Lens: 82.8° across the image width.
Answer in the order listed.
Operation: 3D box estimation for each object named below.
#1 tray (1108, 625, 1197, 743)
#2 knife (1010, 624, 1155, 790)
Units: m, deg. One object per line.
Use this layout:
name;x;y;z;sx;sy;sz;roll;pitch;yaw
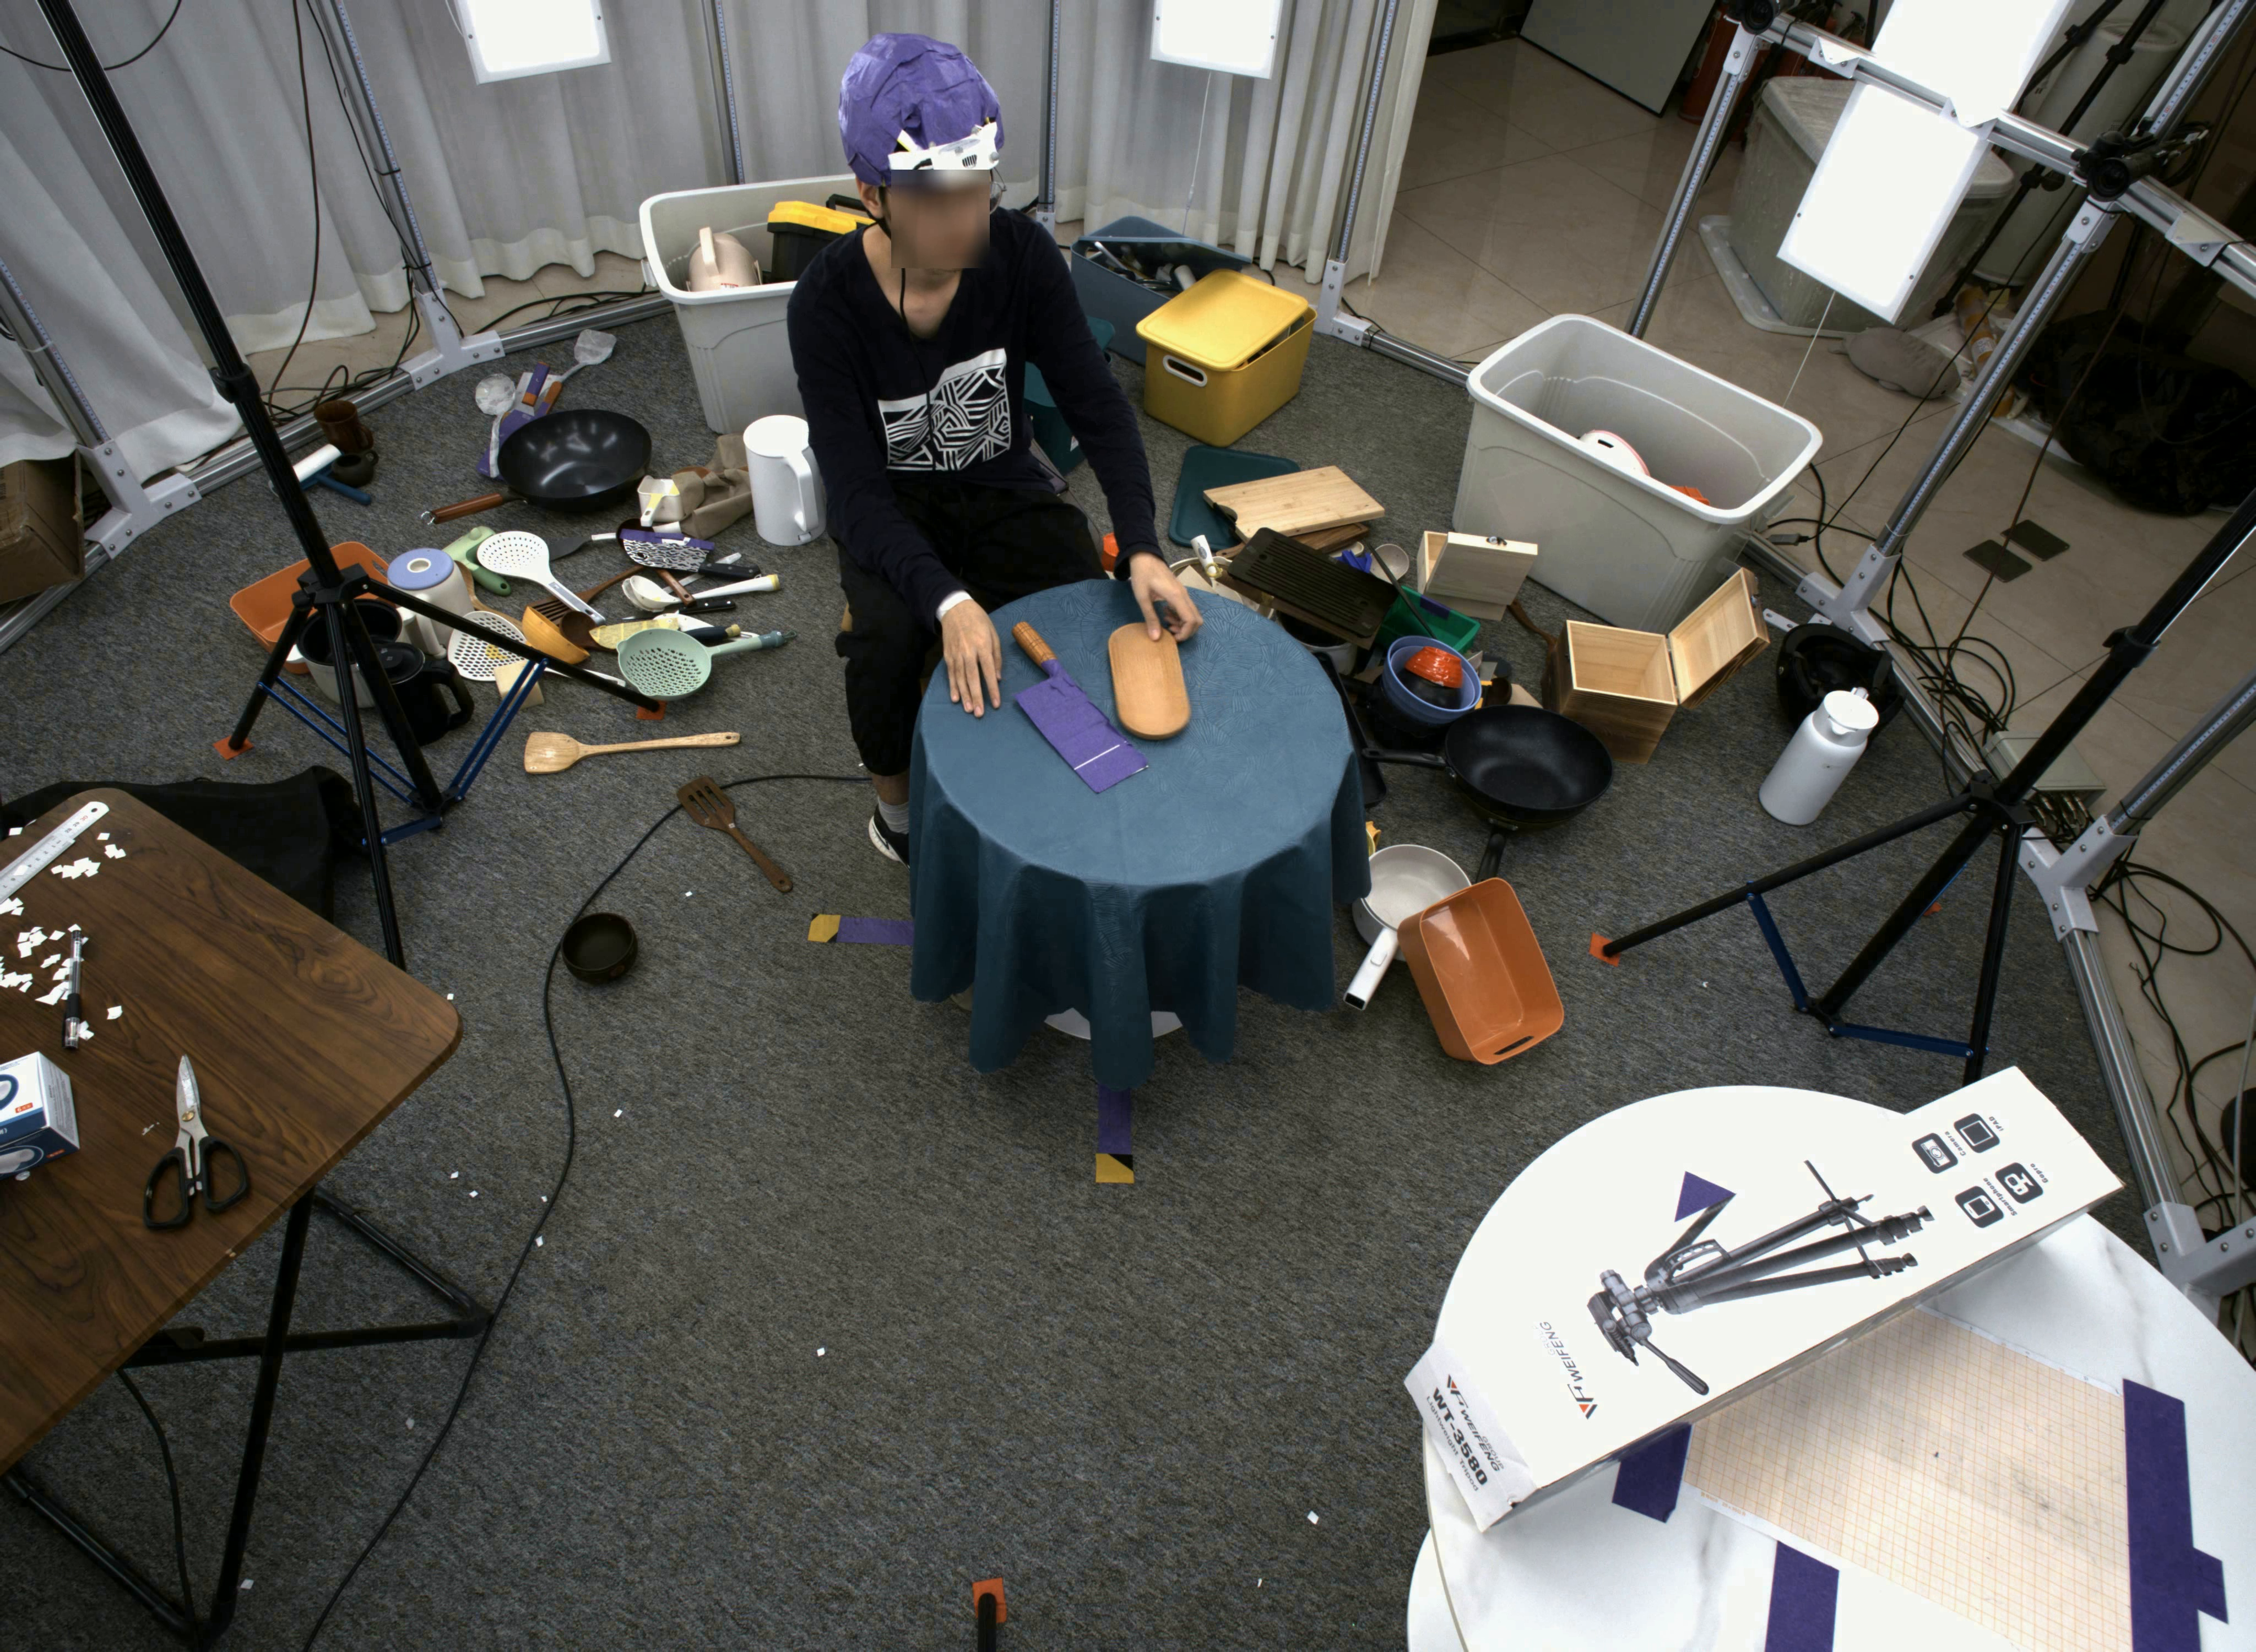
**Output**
tray;0.033;-0.206;1.837;0.101;0.020;0.237;-8;51;-8
knife;-0.093;-0.170;1.791;0.104;0.031;0.321;-27;56;-25
